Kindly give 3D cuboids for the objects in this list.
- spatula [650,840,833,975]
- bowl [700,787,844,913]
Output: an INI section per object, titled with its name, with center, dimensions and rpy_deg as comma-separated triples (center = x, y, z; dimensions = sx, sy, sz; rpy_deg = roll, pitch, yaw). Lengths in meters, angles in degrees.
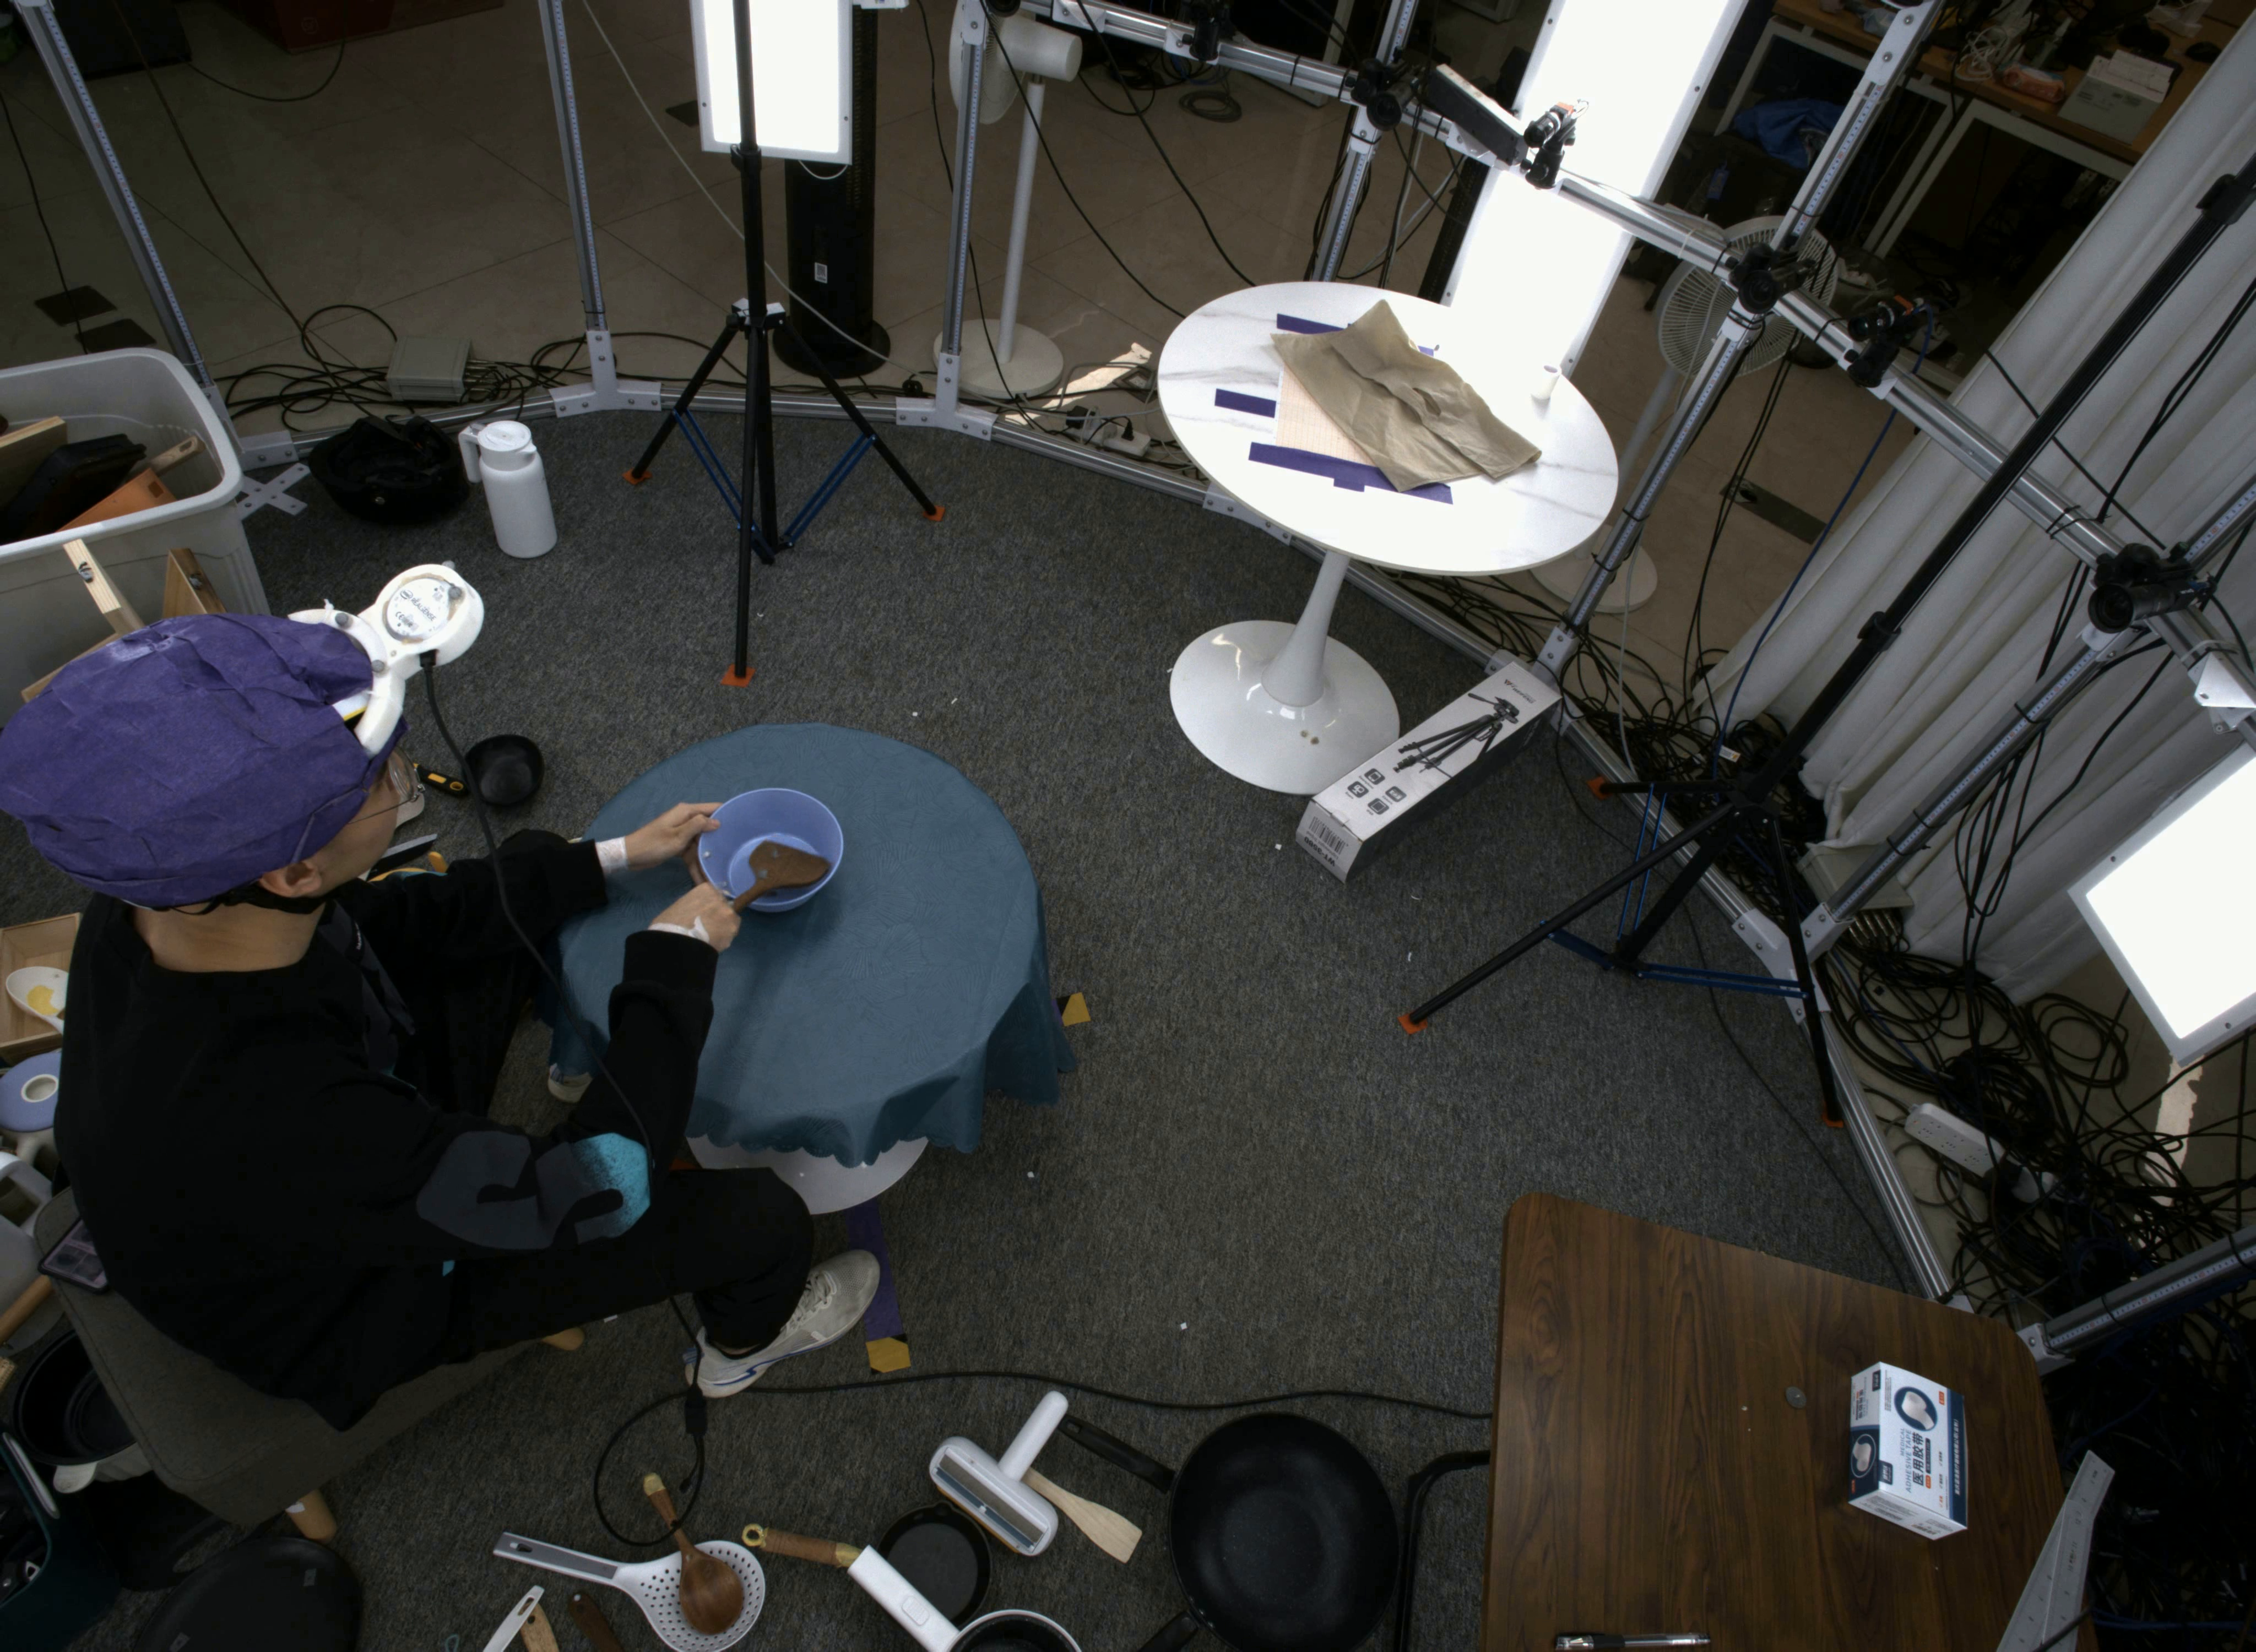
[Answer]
[spatula]
center = -0.441, 0.086, 1.464
dimensions = 0.095, 0.016, 0.383
rpy_deg = 20, 18, 2
[bowl]
center = -0.447, 0.041, 1.639
dimensions = 0.175, 0.072, 0.173
rpy_deg = 6, 56, -7
